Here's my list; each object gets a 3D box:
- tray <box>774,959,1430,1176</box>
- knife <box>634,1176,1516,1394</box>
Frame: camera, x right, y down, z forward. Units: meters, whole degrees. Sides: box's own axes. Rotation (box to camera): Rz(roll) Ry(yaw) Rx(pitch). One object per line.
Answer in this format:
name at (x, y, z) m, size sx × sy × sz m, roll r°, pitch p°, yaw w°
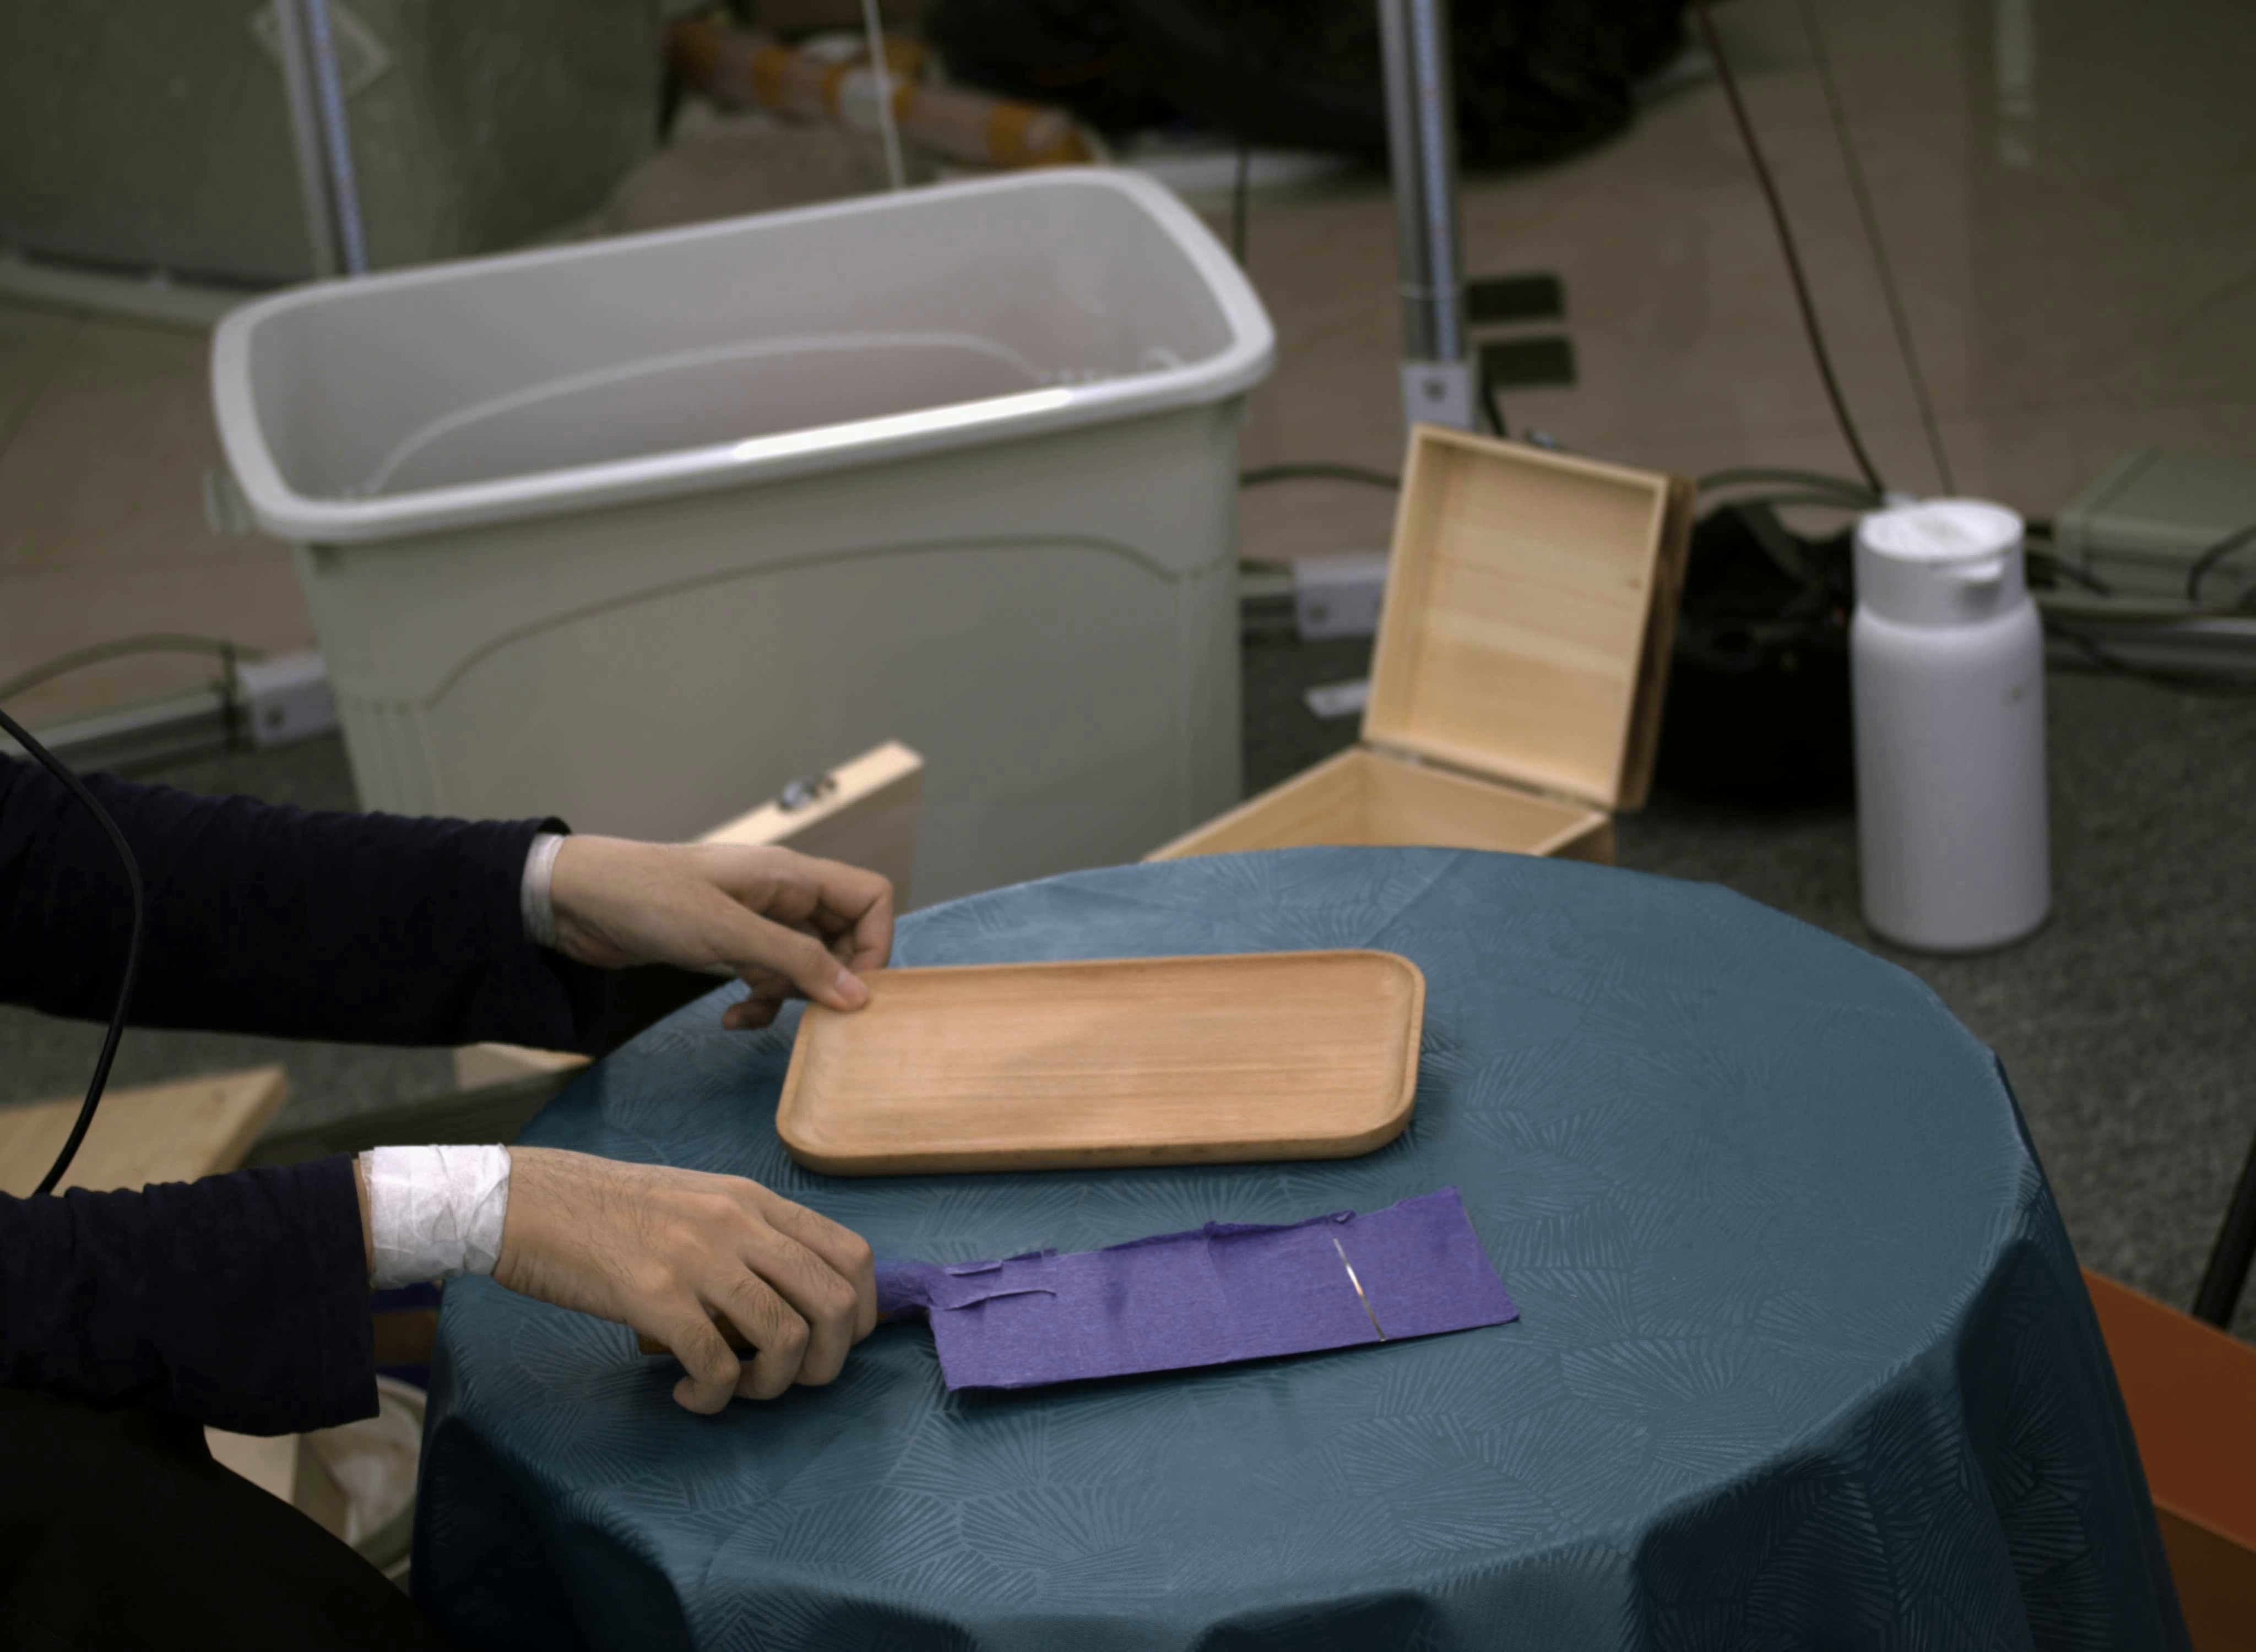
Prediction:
tray at (-0.009, 0.095, 2.213) m, size 0.250 × 0.023 × 0.128 m, roll -1°, pitch 35°, yaw 10°
knife at (-0.020, 0.172, 2.054) m, size 0.314 × 0.033 × 0.102 m, roll -9°, pitch 25°, yaw -6°
